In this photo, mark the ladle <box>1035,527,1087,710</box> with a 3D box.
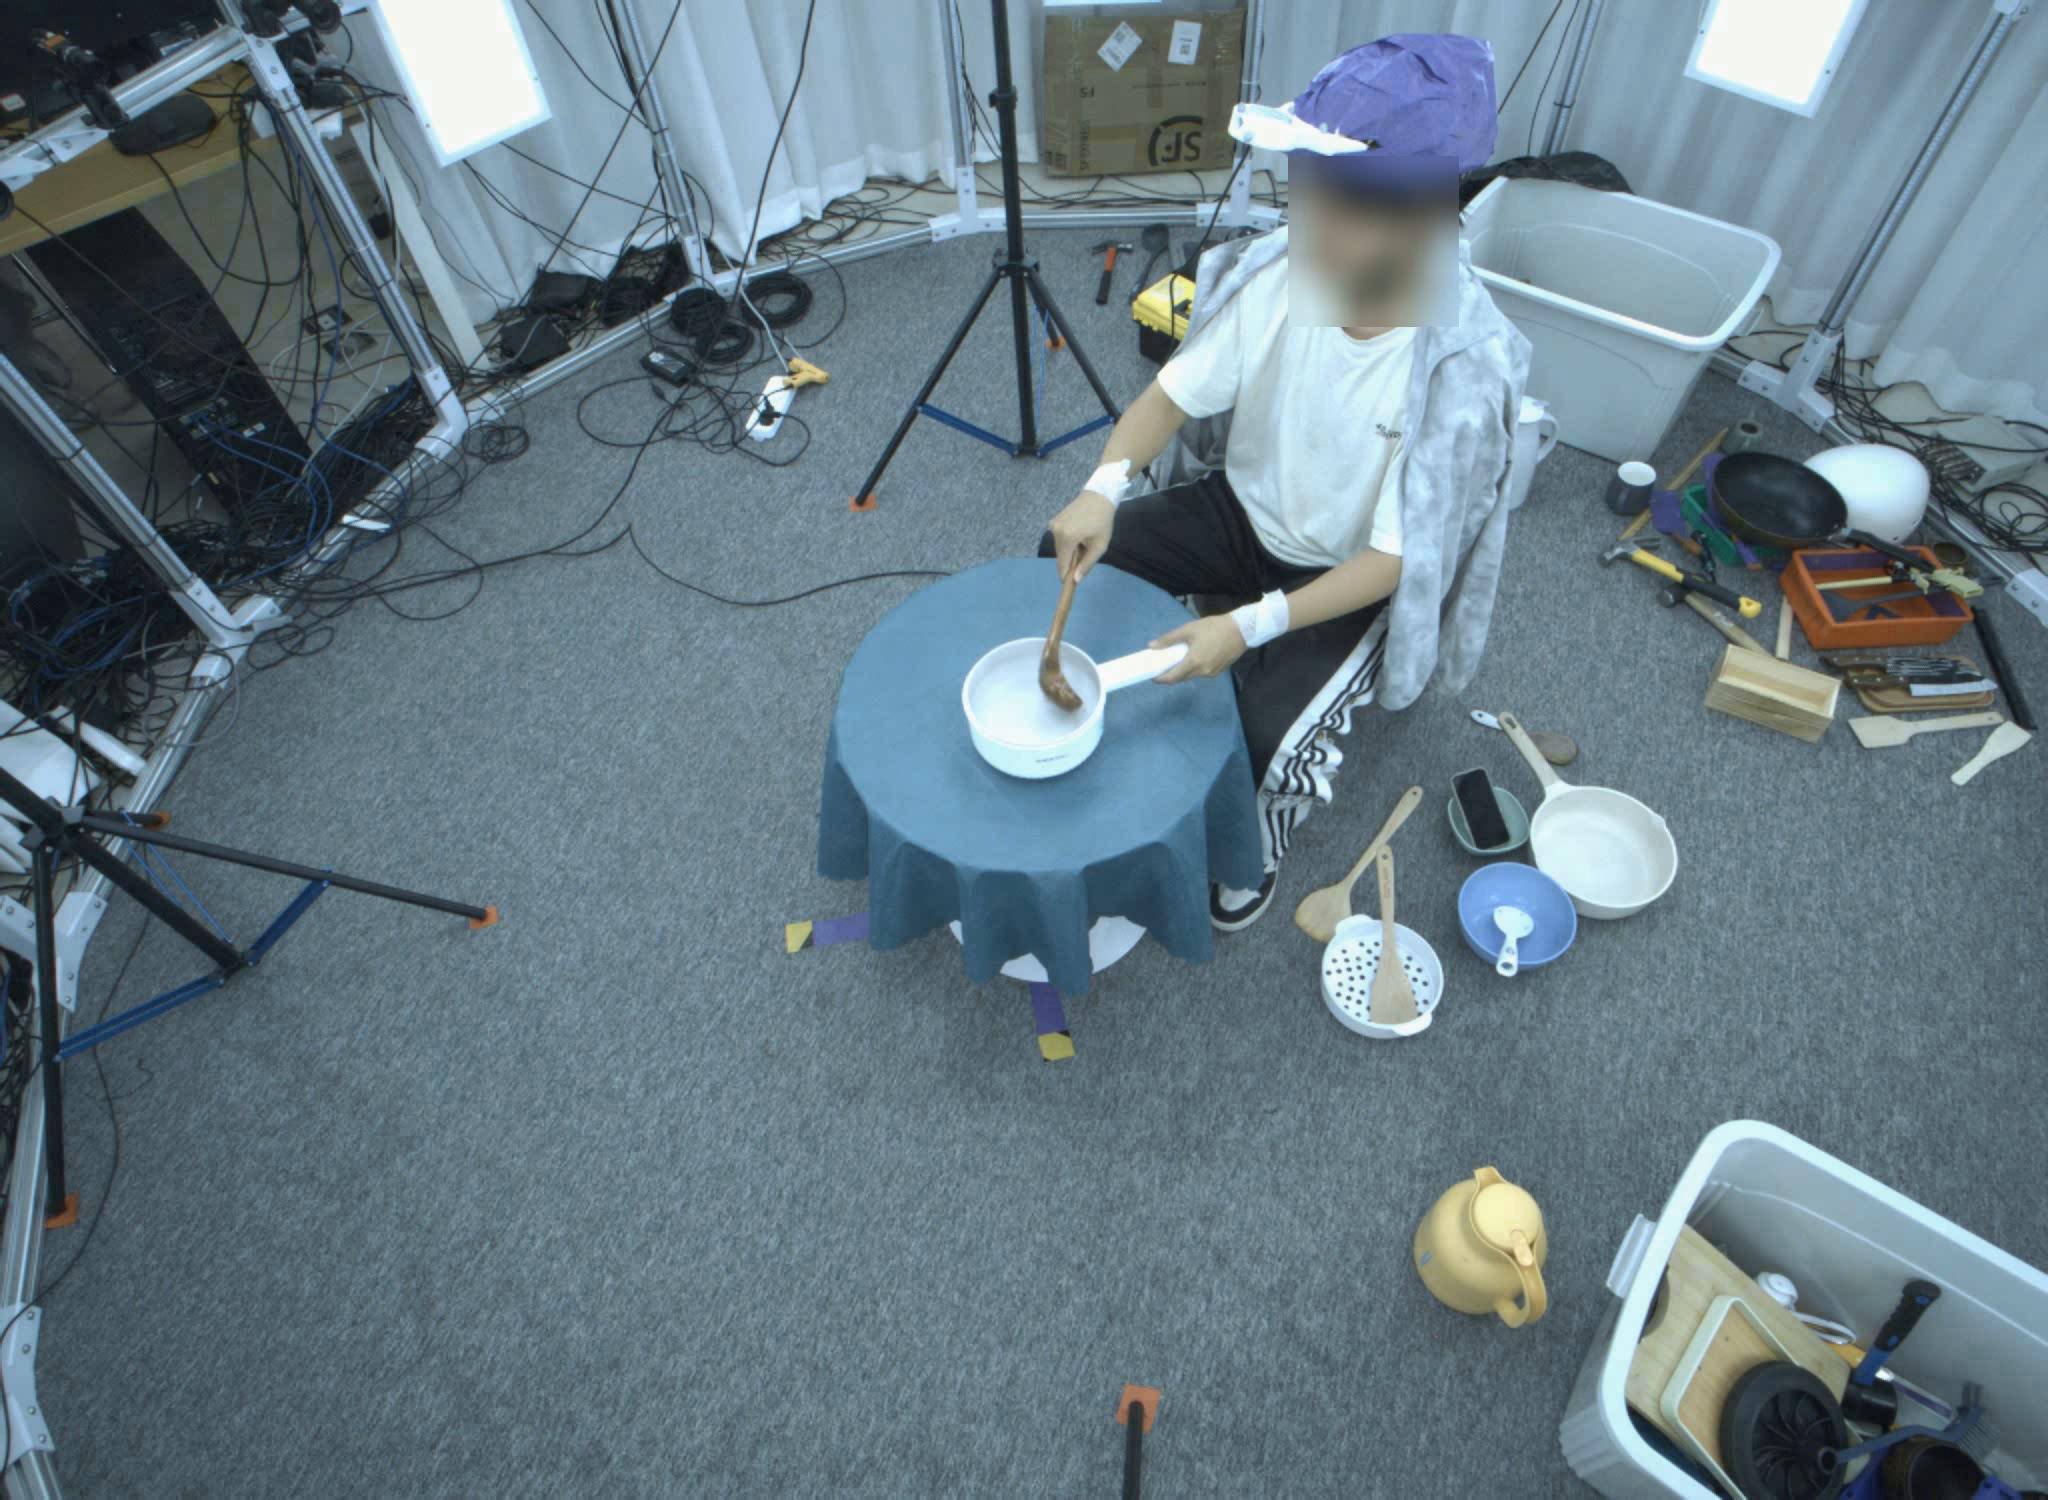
[{"bbox_3d":[0.074,-0.190,1.754,0.075,0.083,0.273,13,79,21],"label":"ladle"}]

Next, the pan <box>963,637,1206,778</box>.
[{"bbox_3d":[0.090,-0.077,1.781,0.357,0.103,0.198,-17,55,-10],"label":"pan"}]
